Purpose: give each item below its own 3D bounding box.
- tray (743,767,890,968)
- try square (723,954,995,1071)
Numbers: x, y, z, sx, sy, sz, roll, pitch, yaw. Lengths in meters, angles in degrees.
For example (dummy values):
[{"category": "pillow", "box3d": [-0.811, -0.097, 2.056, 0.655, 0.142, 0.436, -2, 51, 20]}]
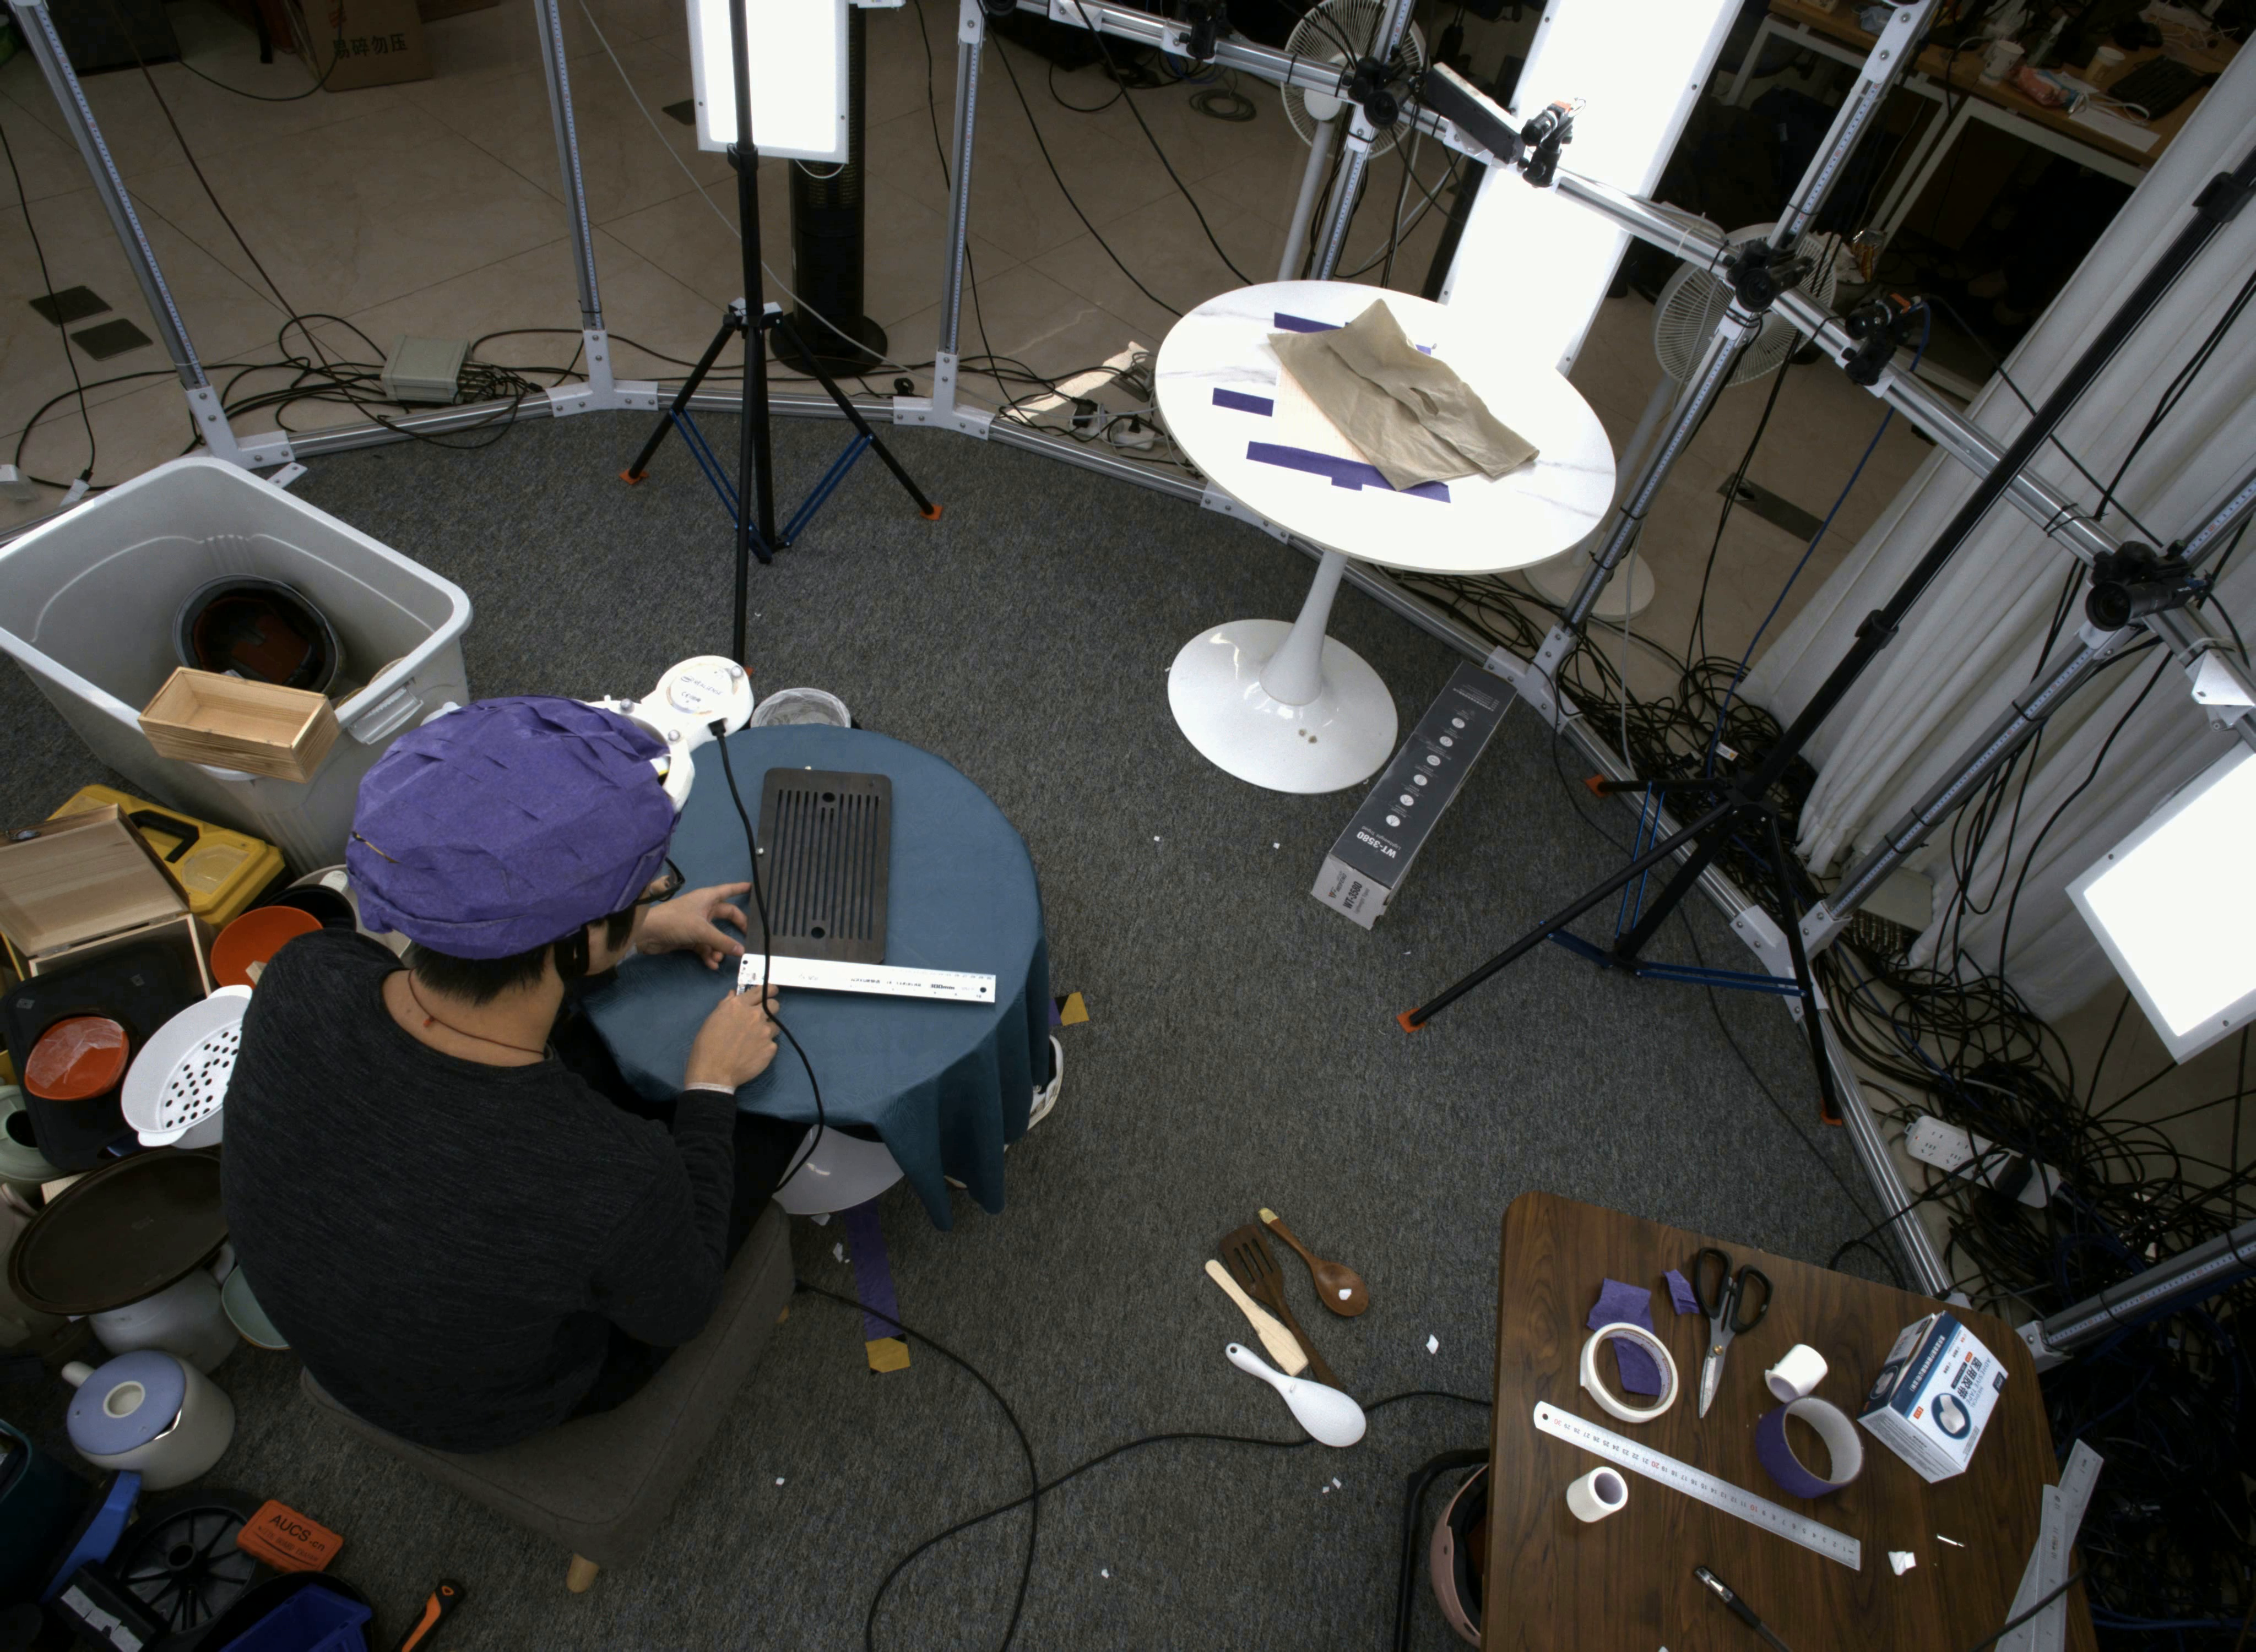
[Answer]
[{"category": "tray", "box3d": [-0.398, 0.049, 1.675, 0.170, 0.019, 0.300, 5, 53, -14]}, {"category": "try square", "box3d": [-0.316, 0.227, 1.556, 0.313, 0.016, 0.149, 6, 53, -13]}]
